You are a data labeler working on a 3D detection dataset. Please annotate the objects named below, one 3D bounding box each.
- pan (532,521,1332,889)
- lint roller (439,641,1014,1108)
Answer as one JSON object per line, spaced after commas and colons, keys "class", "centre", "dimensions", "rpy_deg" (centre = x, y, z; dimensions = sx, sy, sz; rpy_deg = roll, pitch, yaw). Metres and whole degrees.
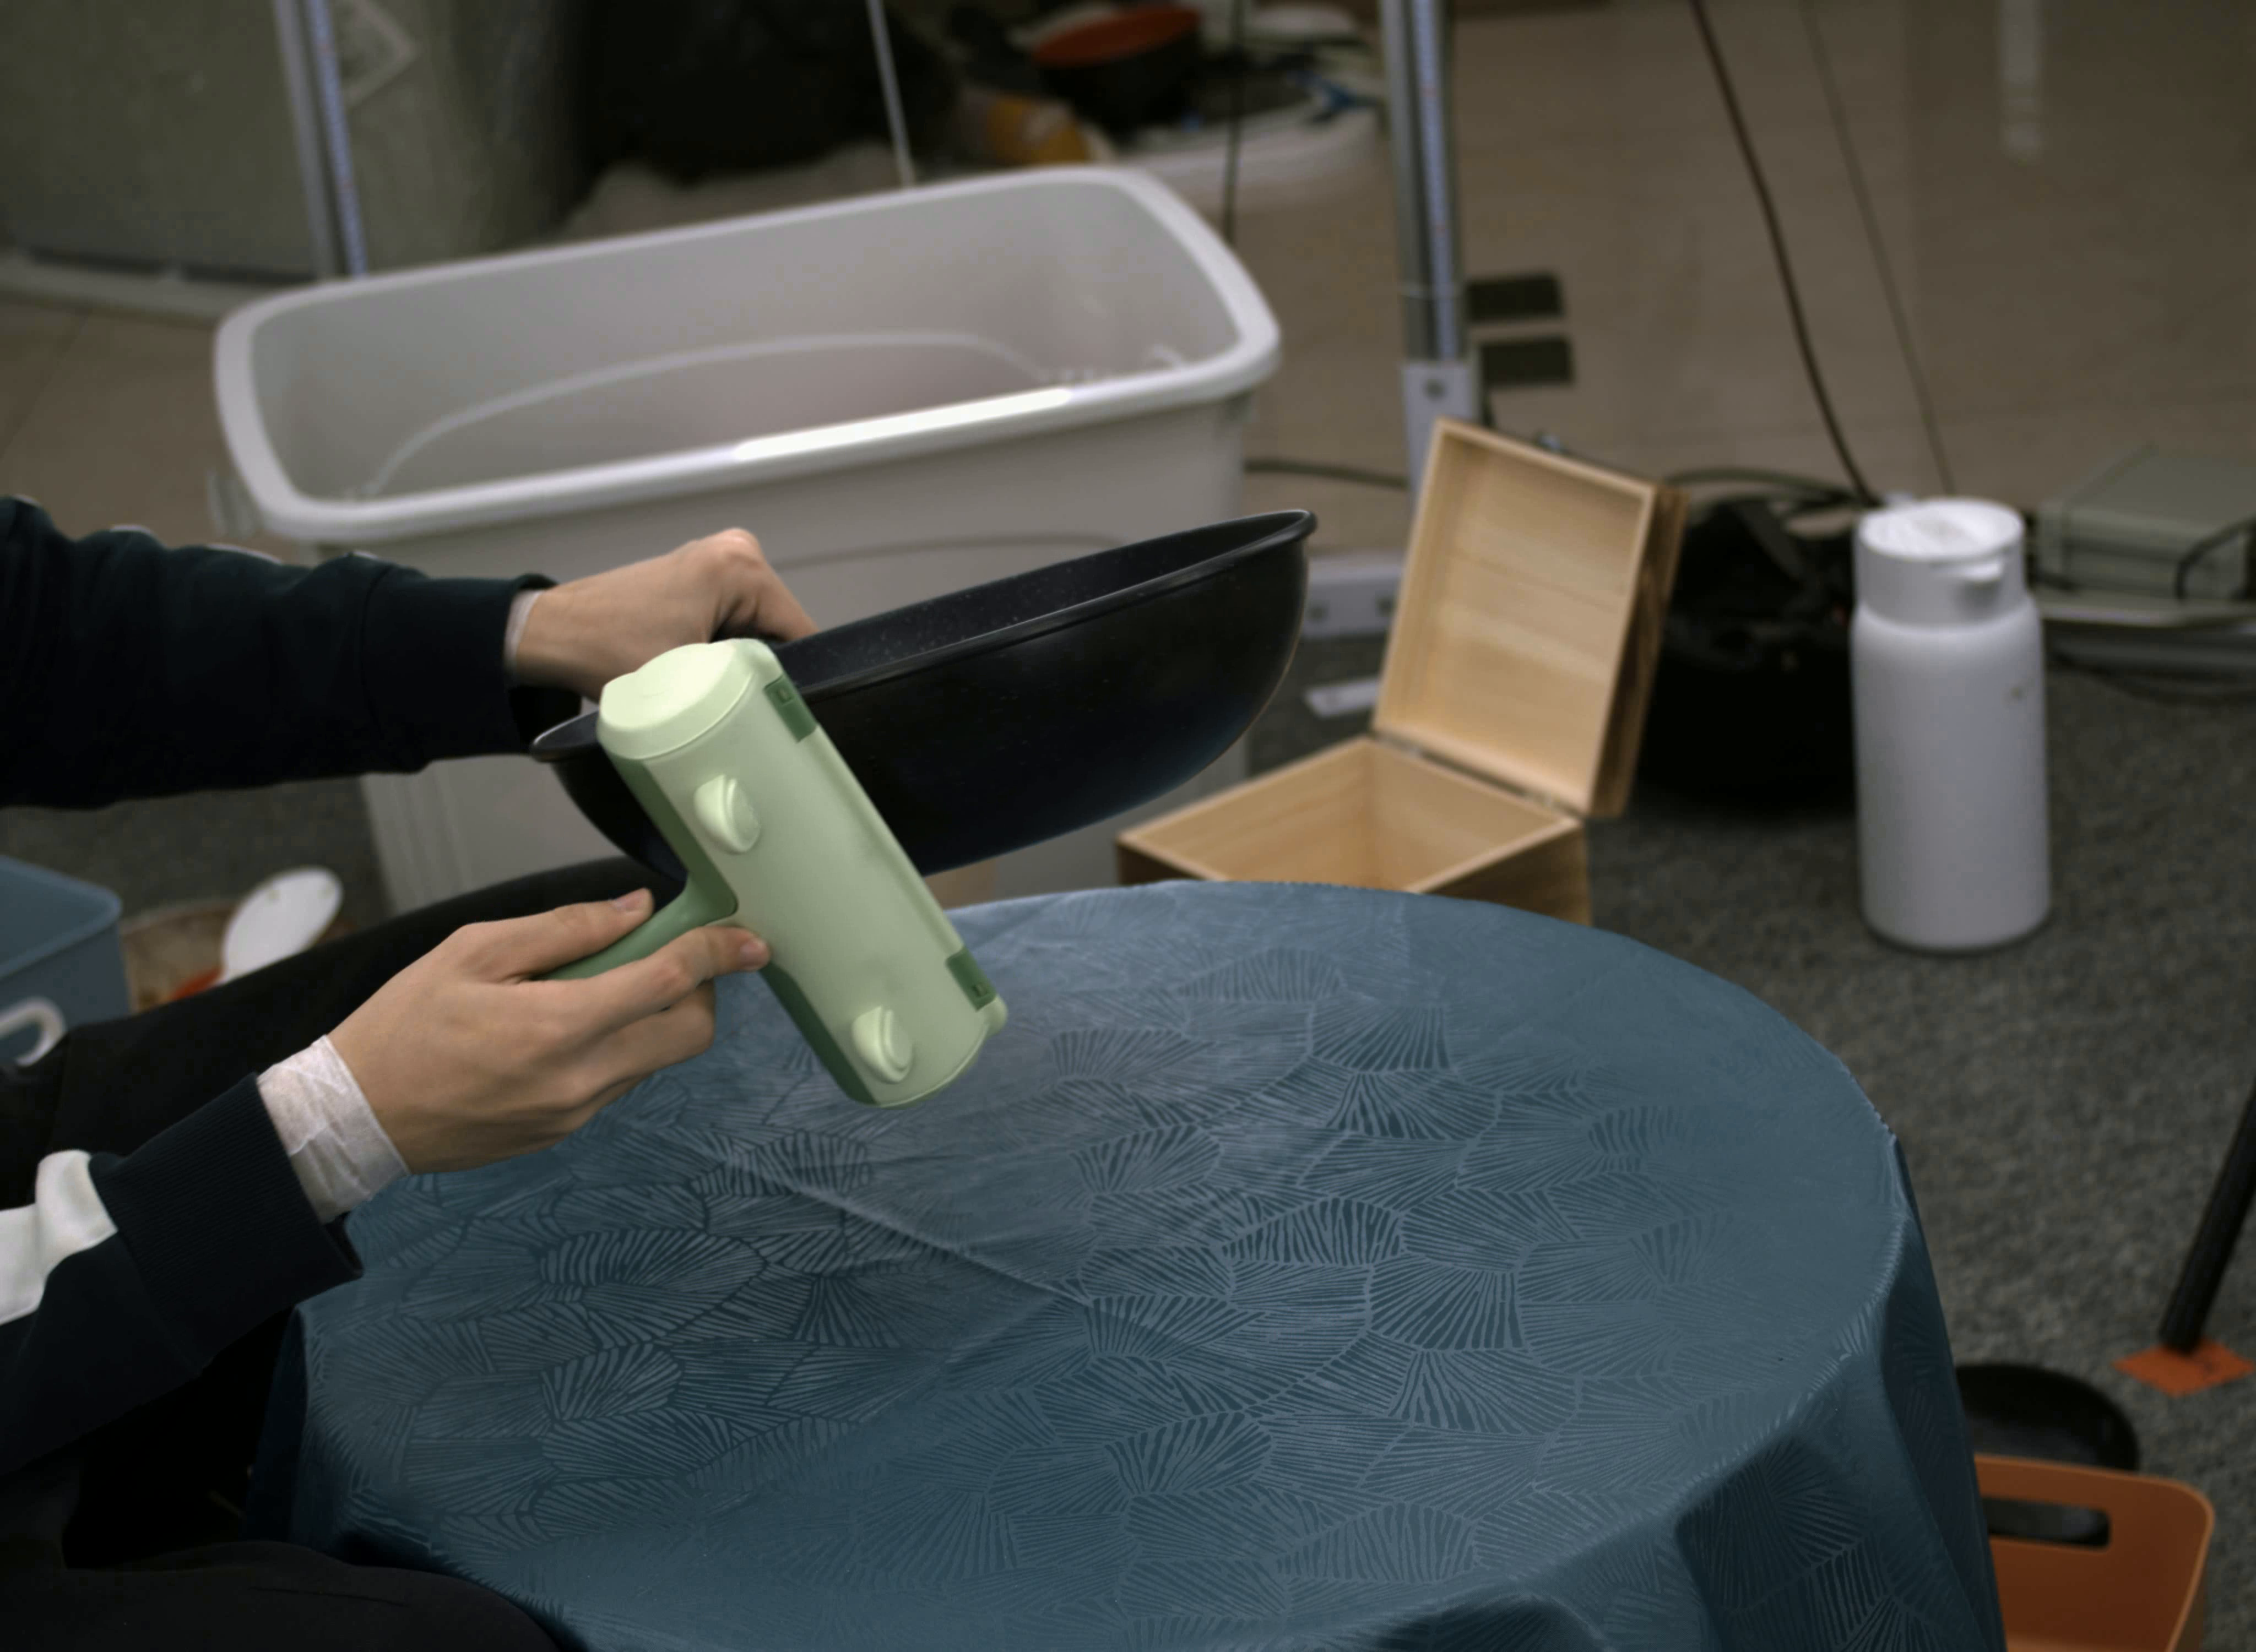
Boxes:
{"class": "pan", "centre": [-0.102, -0.043, 2.196], "dimensions": [0.308, 0.112, 0.476], "rpy_deg": [-18, 7, -24]}
{"class": "lint roller", "centre": [-0.157, 0.053, 1.981], "dimensions": [0.183, 0.202, 0.081], "rpy_deg": [-35, 35, -2]}
